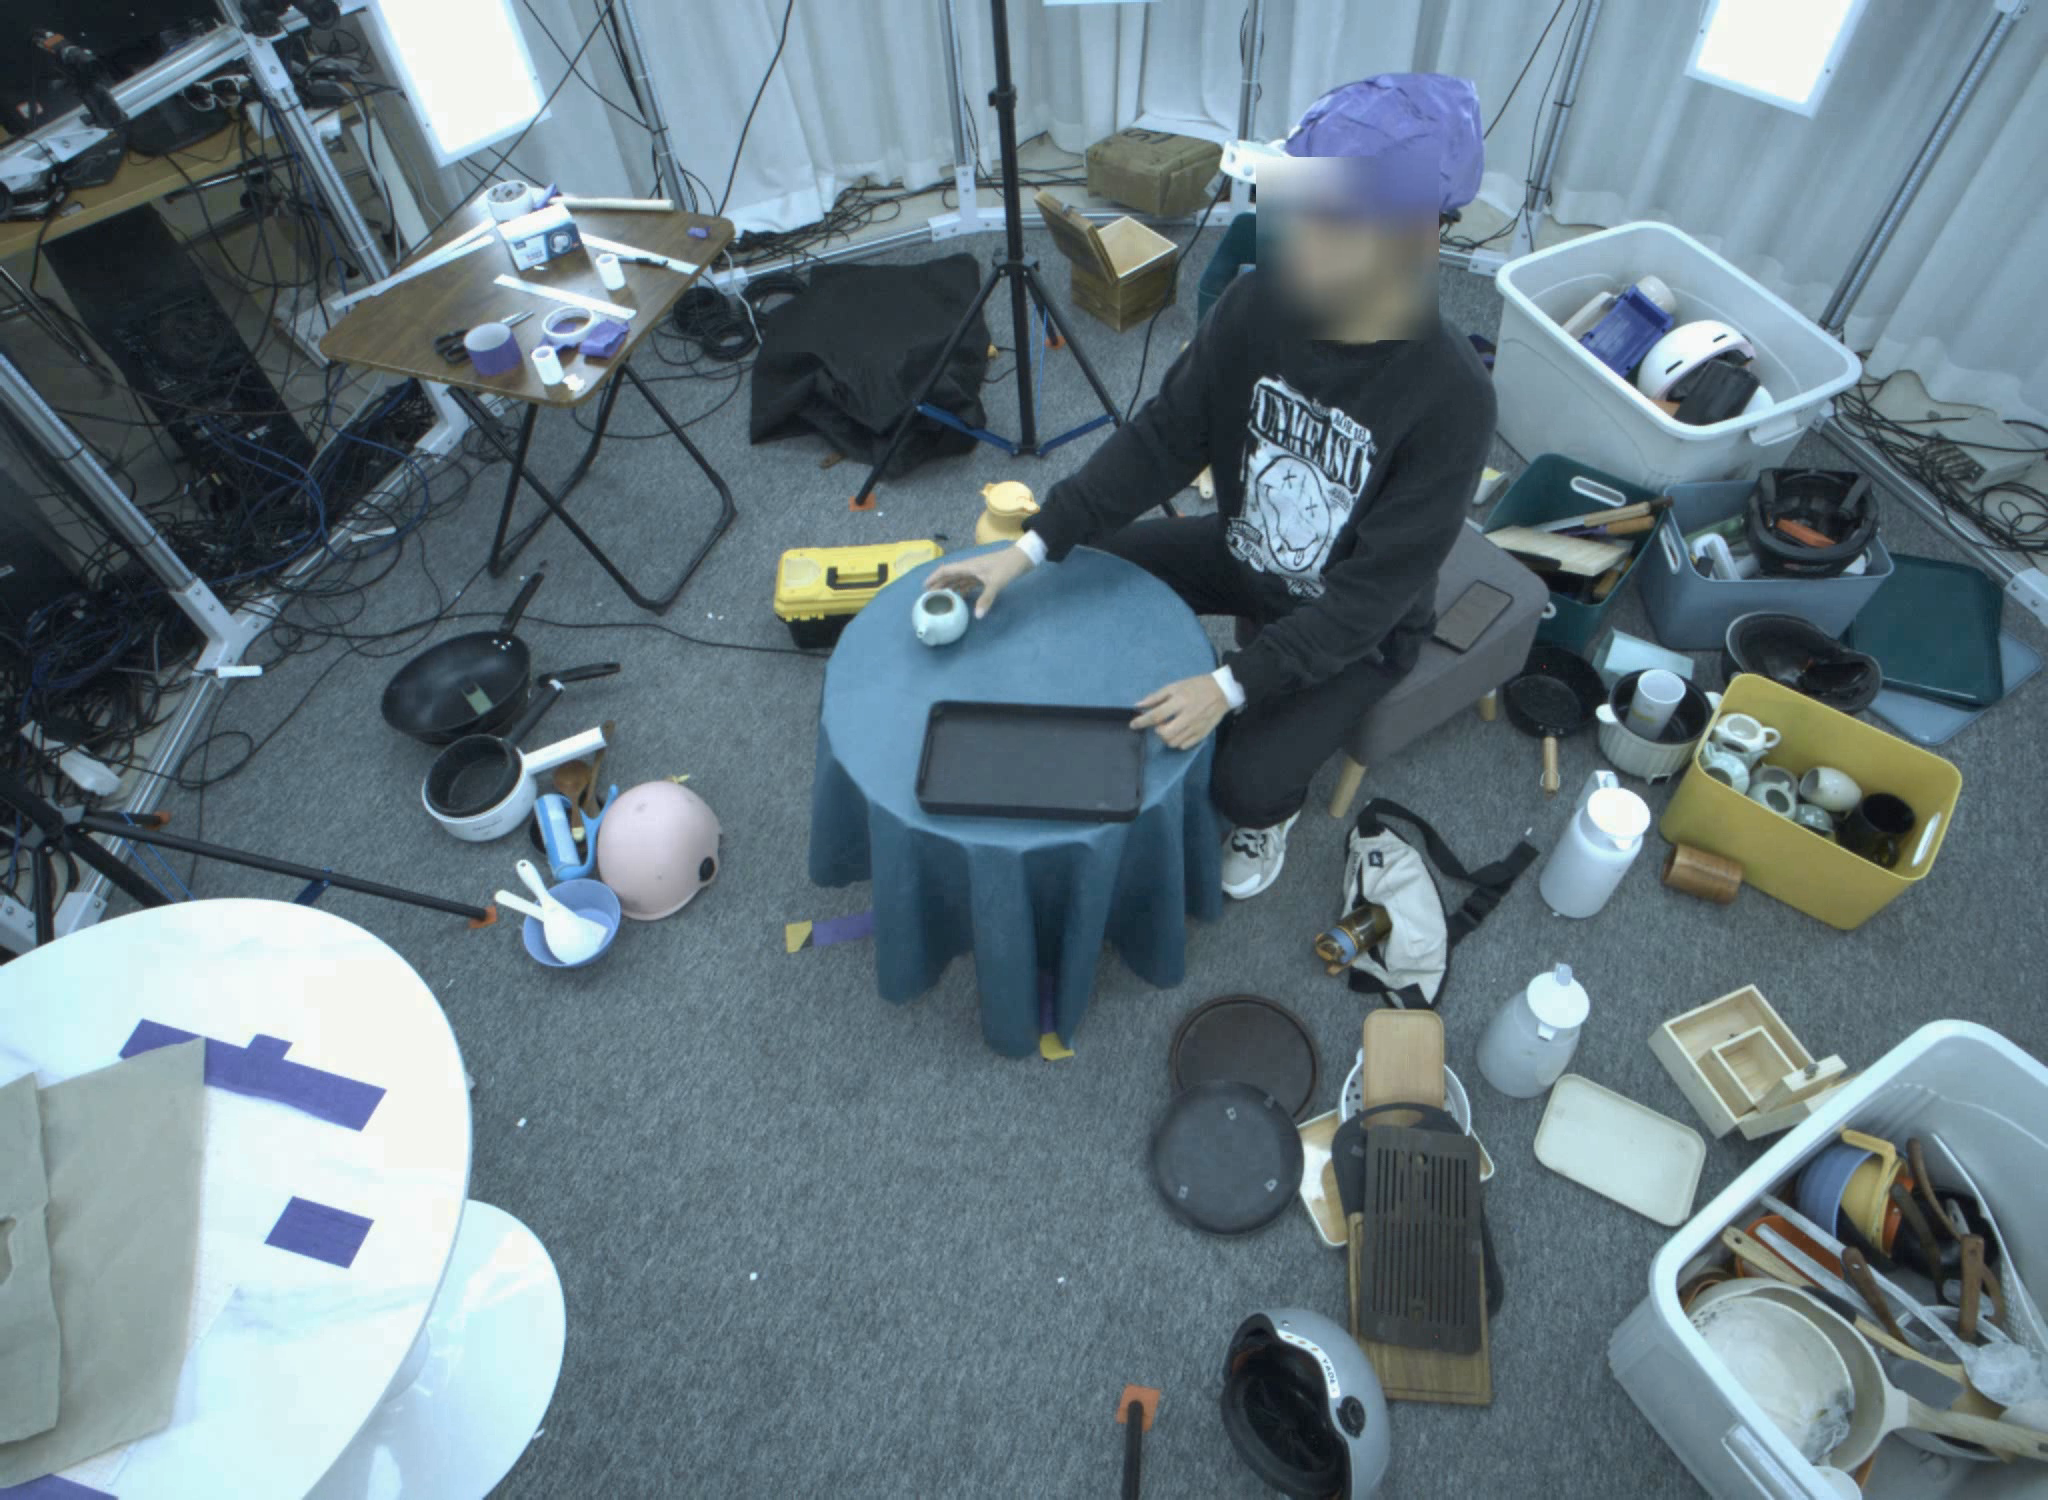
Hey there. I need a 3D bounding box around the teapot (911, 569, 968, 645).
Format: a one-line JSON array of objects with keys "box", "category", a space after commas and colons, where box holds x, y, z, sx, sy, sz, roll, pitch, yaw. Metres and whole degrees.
[{"box": [-0.131, -0.207, 1.890, 0.087, 0.075, 0.144, 17, 59, 14], "category": "teapot"}]

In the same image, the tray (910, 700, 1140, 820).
[{"box": [0.005, 0.013, 1.752, 0.317, 0.037, 0.182, 1, 55, 3], "category": "tray"}]
